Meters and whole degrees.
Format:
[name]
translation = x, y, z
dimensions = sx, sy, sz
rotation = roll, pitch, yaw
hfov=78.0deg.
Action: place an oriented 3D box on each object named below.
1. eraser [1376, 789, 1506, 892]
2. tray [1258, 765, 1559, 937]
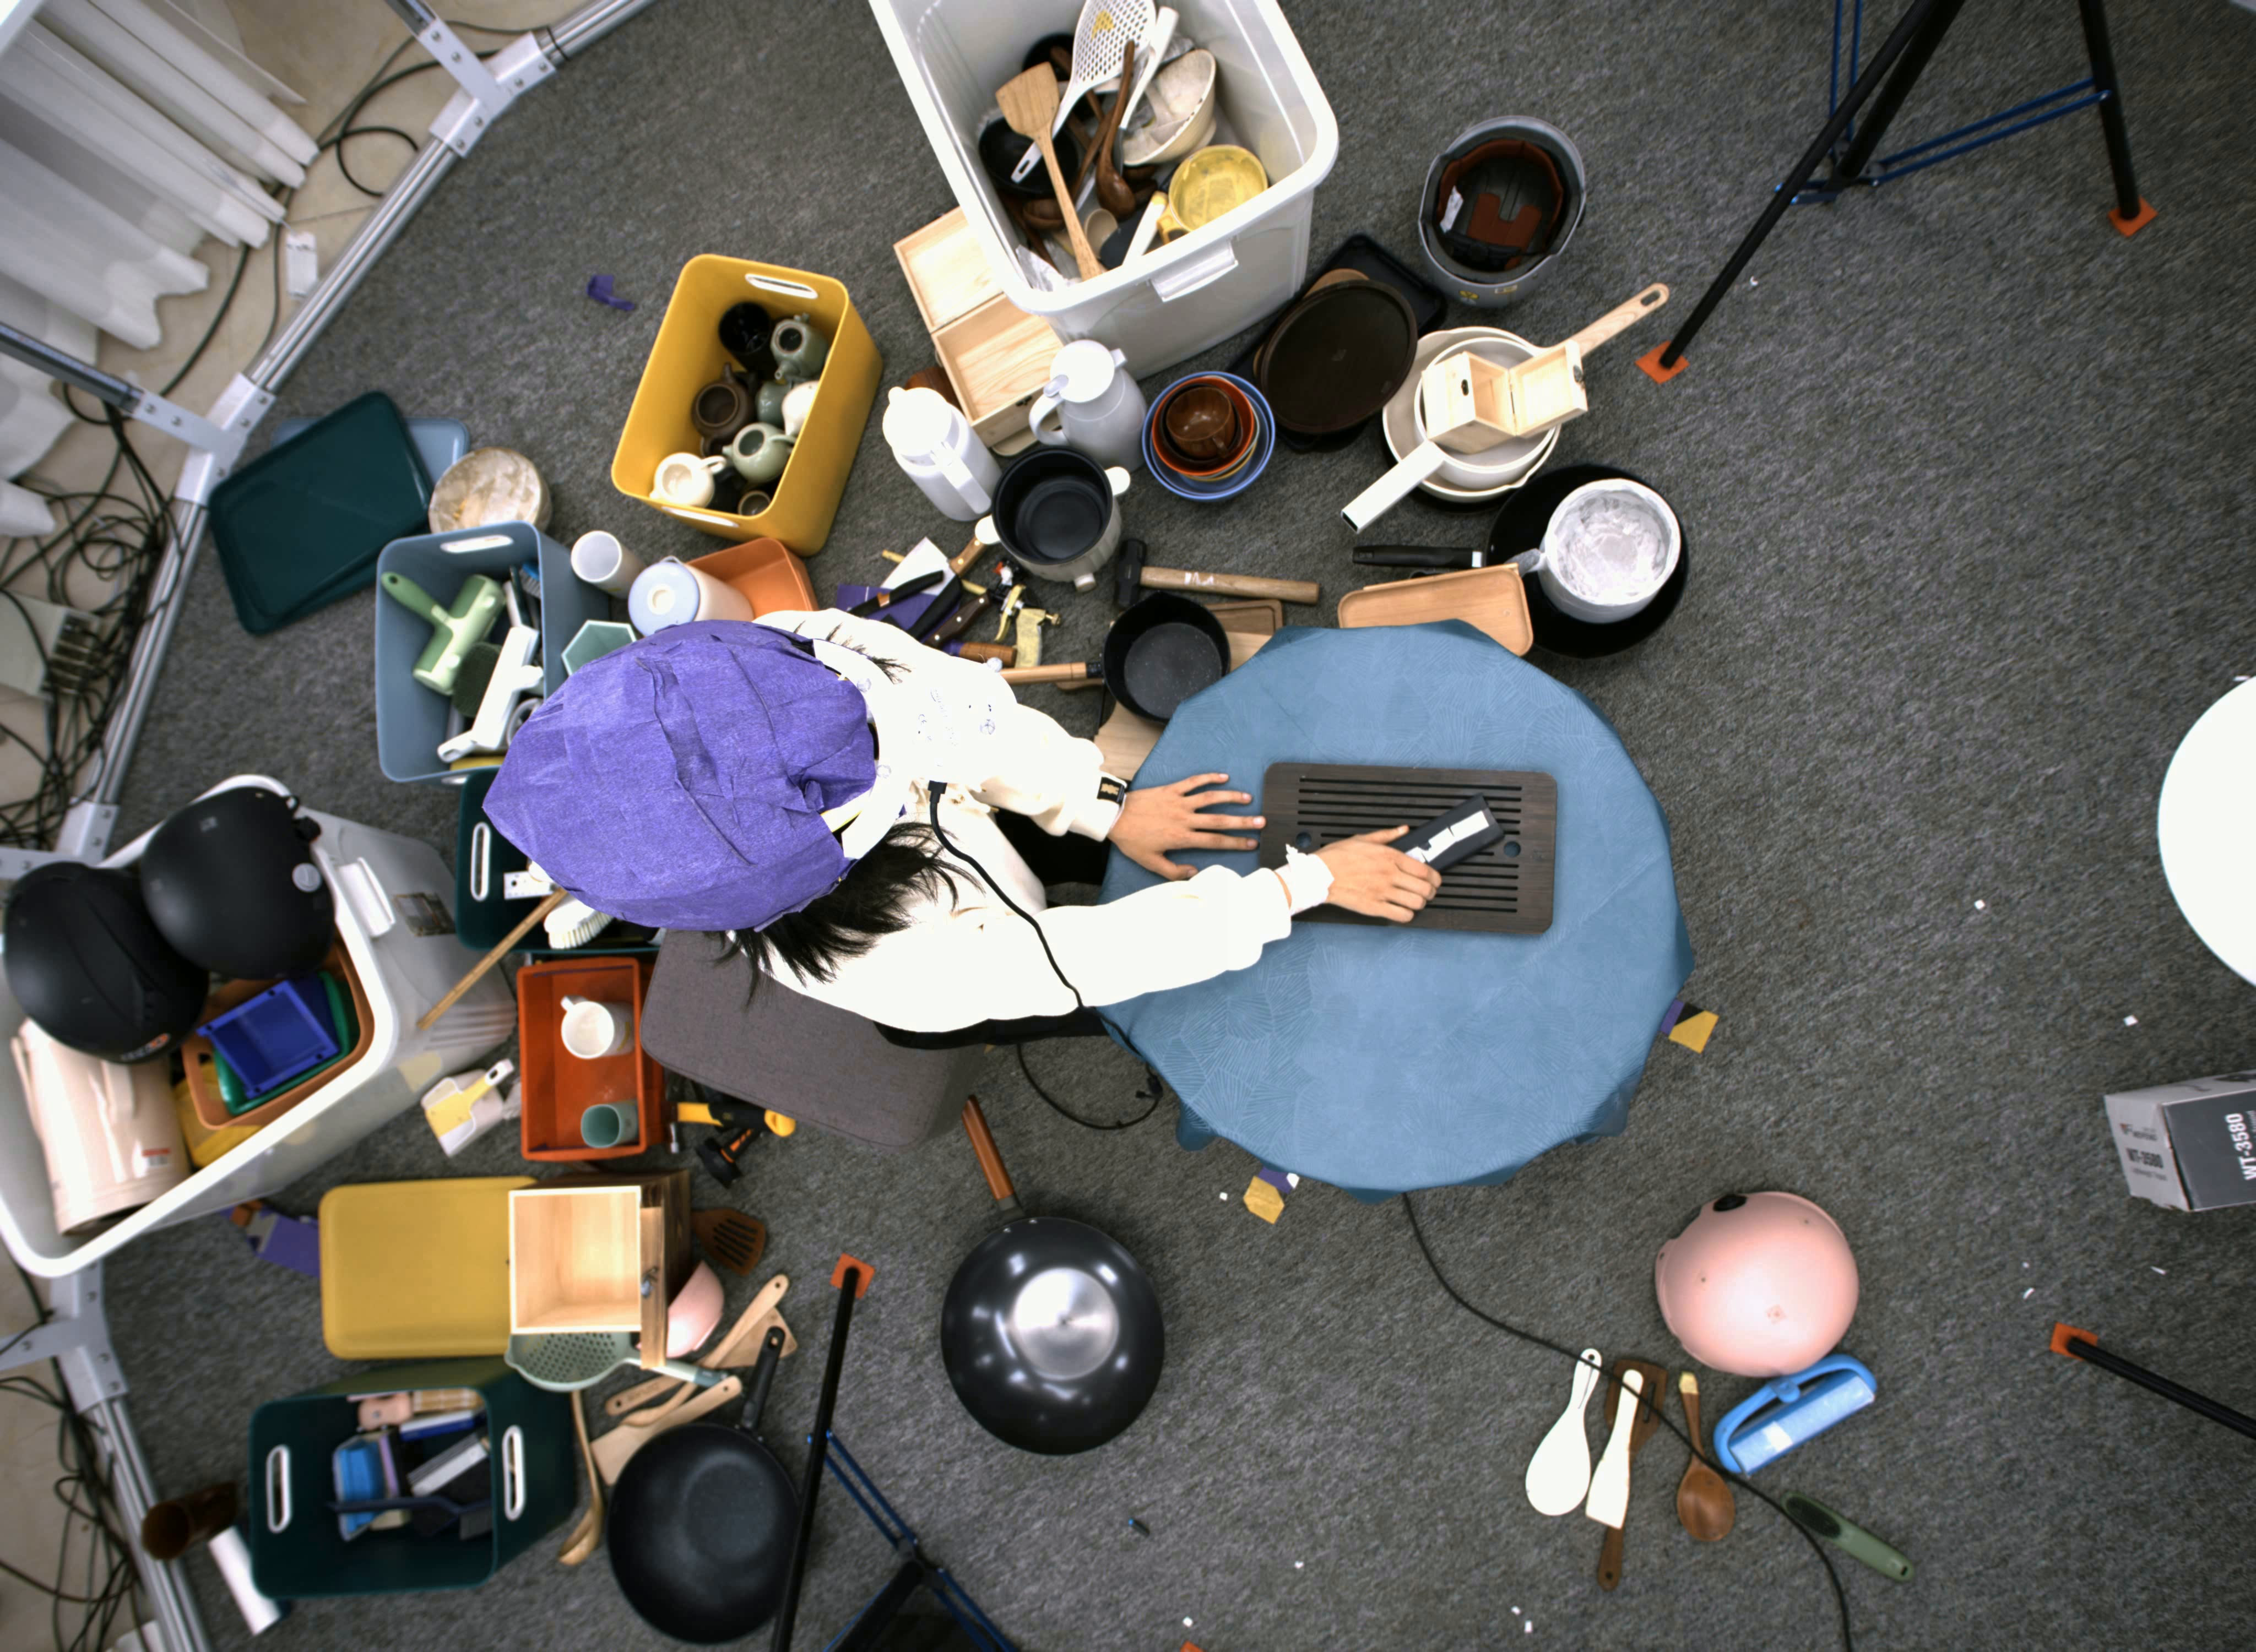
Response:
[eraser]
translation = 0.323, 0.014, 1.423
dimensions = 0.126, 0.030, 0.053
rotation = -31, 77, 9
[tray]
translation = 0.293, 0.024, 1.449
dimensions = 0.307, 0.018, 0.169
rotation = 2, 87, 11
